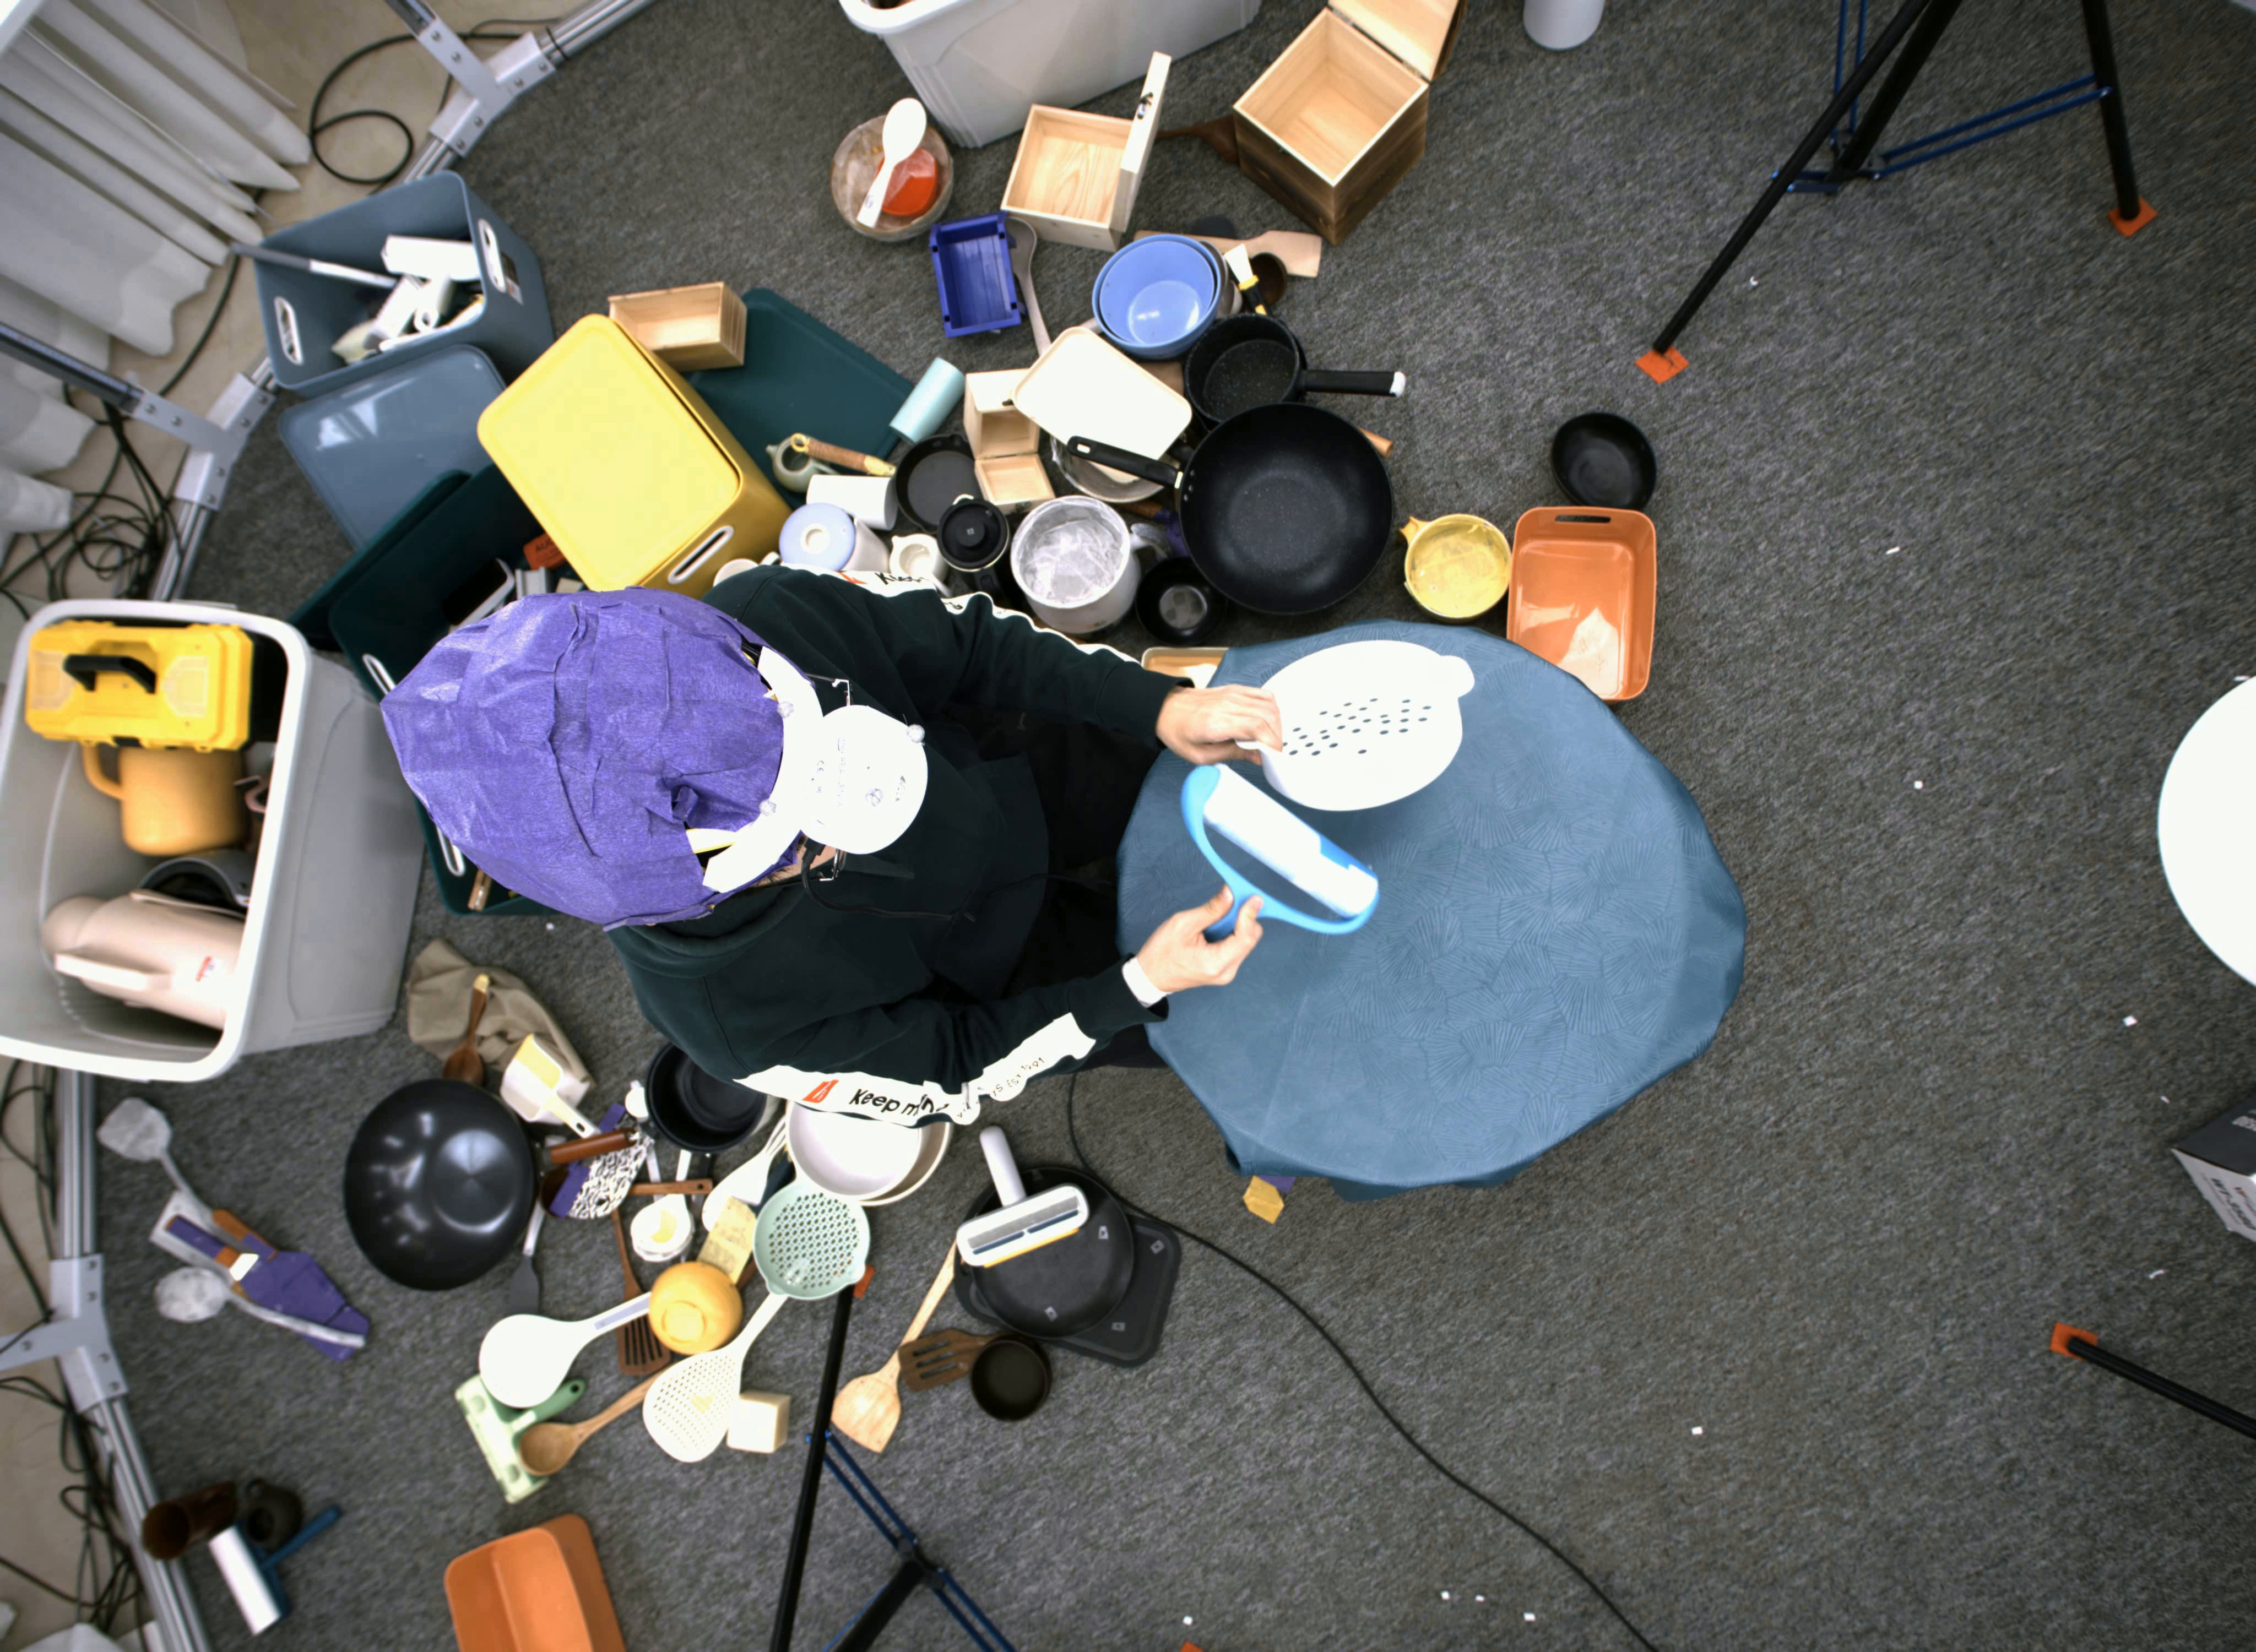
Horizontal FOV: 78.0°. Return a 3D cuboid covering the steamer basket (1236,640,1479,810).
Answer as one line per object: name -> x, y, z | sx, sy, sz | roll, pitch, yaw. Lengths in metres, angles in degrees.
steamer basket -> 0.221, -0.097, 1.299 | 0.232, 0.197, 0.070 | -16, 125, 10

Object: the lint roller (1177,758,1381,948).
lint roller -> 0.111, 0.055, 1.292 | 0.230, 0.066, 0.183 | 28, 109, -21
